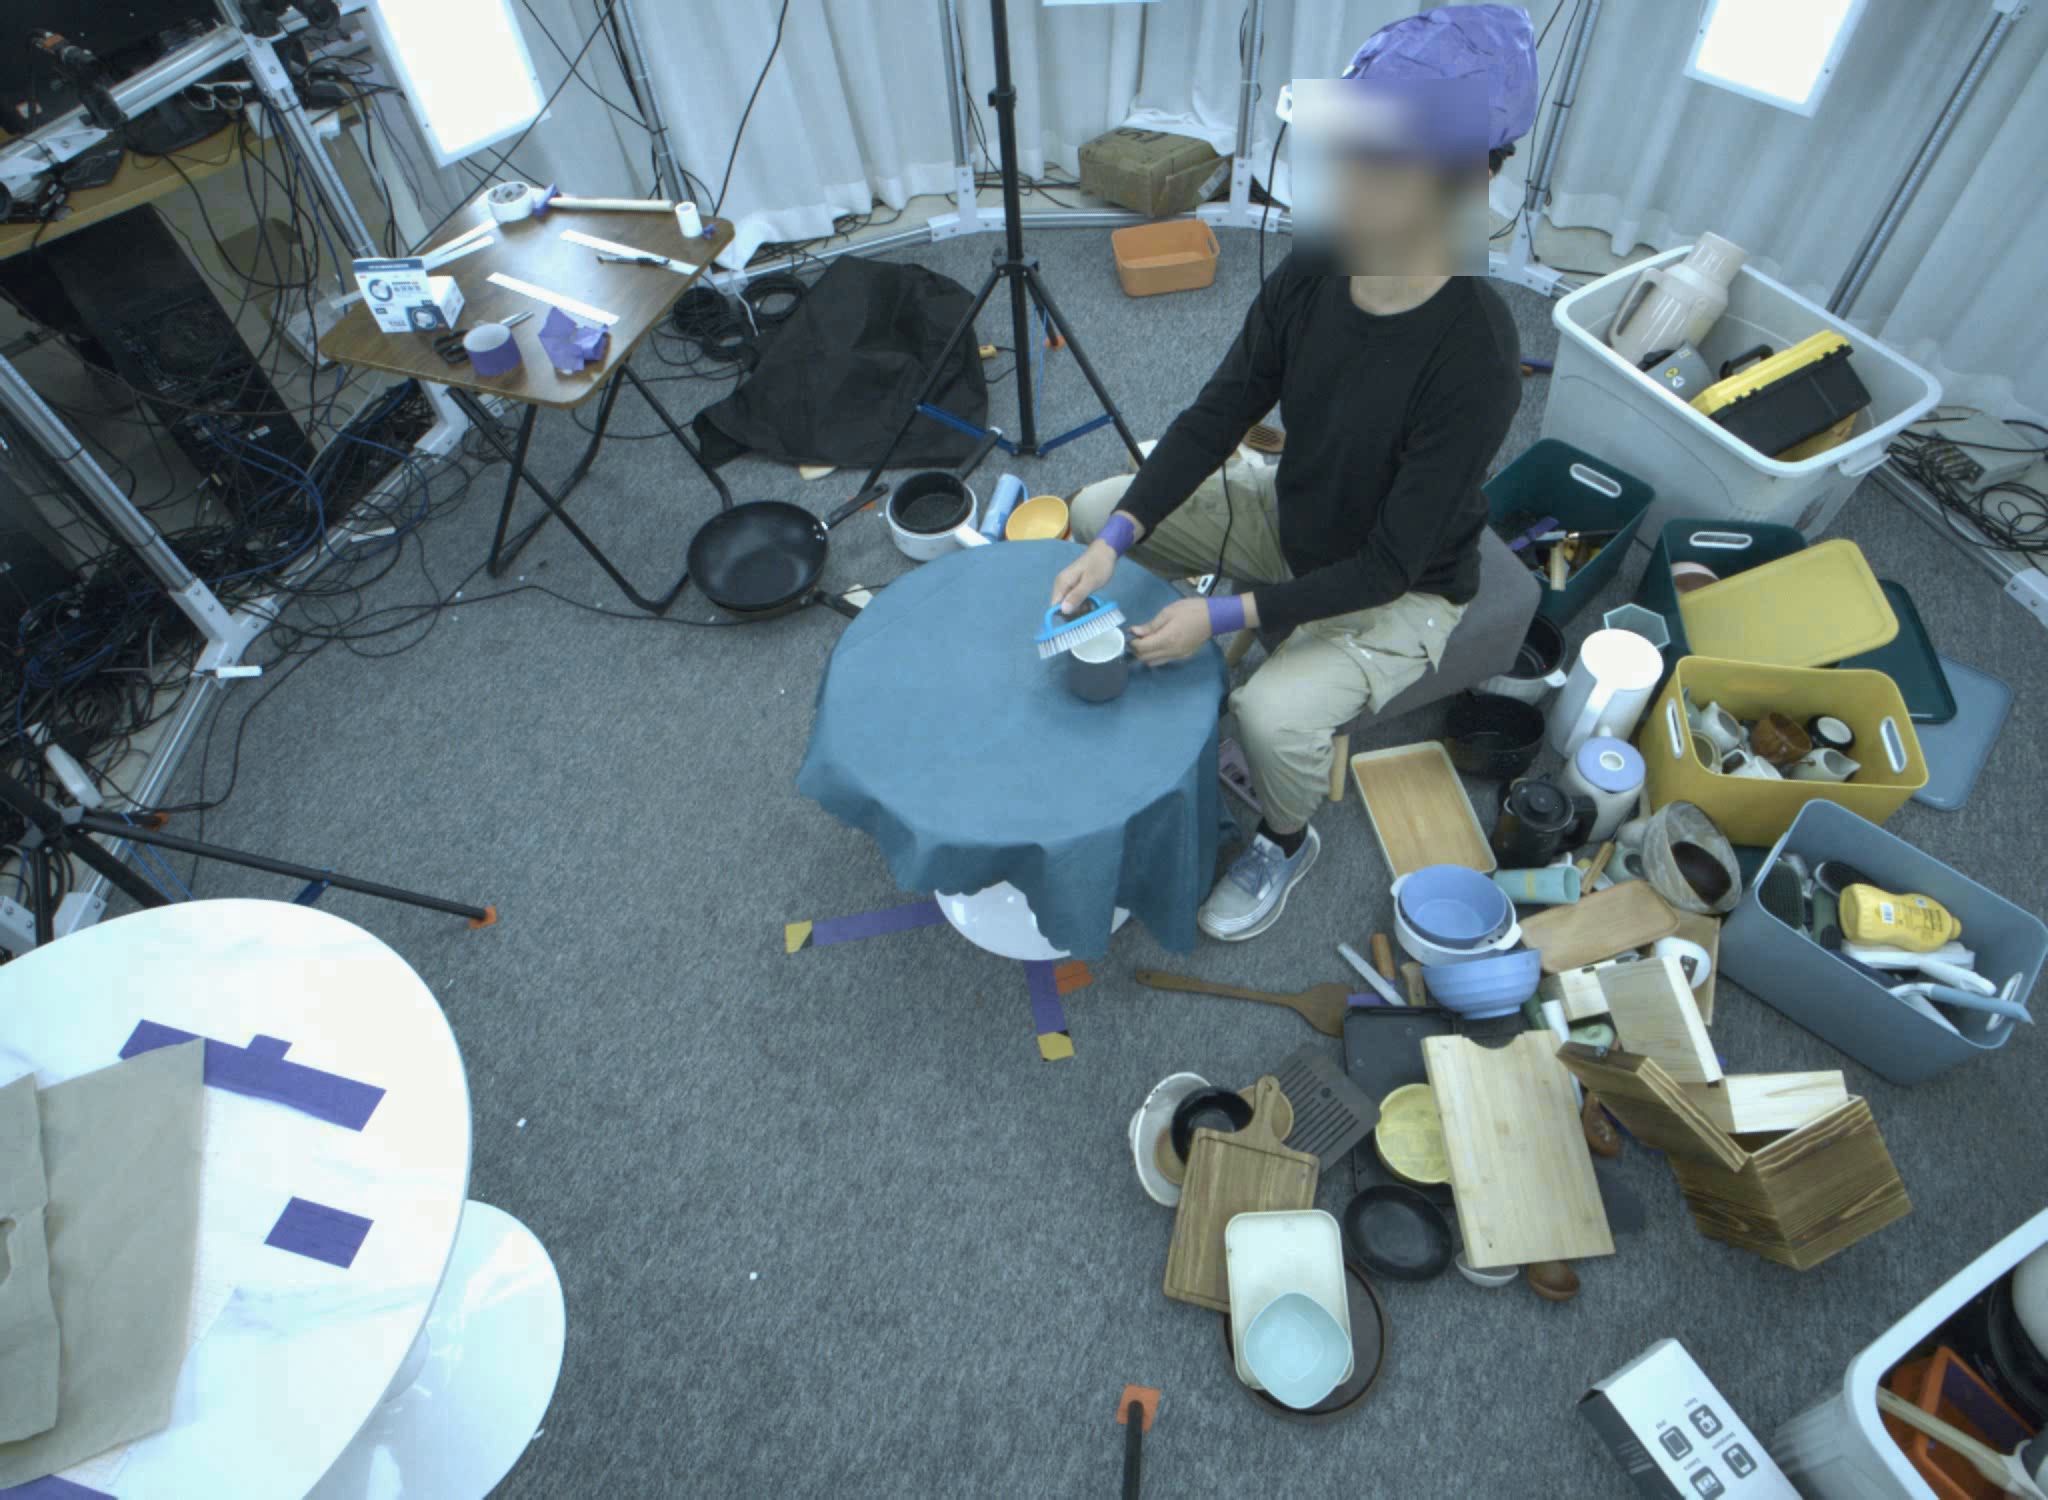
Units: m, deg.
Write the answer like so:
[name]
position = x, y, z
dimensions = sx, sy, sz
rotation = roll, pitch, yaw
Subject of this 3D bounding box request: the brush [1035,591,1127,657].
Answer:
[brush]
position = 0.076, -0.193, 1.807
dimensions = 0.143, 0.083, 0.064
rotation = -25, 93, -14

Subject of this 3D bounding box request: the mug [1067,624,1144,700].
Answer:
[mug]
position = 0.122, -0.138, 1.825
dimensions = 0.124, 0.091, 0.092
rotation = -24, 57, -11
